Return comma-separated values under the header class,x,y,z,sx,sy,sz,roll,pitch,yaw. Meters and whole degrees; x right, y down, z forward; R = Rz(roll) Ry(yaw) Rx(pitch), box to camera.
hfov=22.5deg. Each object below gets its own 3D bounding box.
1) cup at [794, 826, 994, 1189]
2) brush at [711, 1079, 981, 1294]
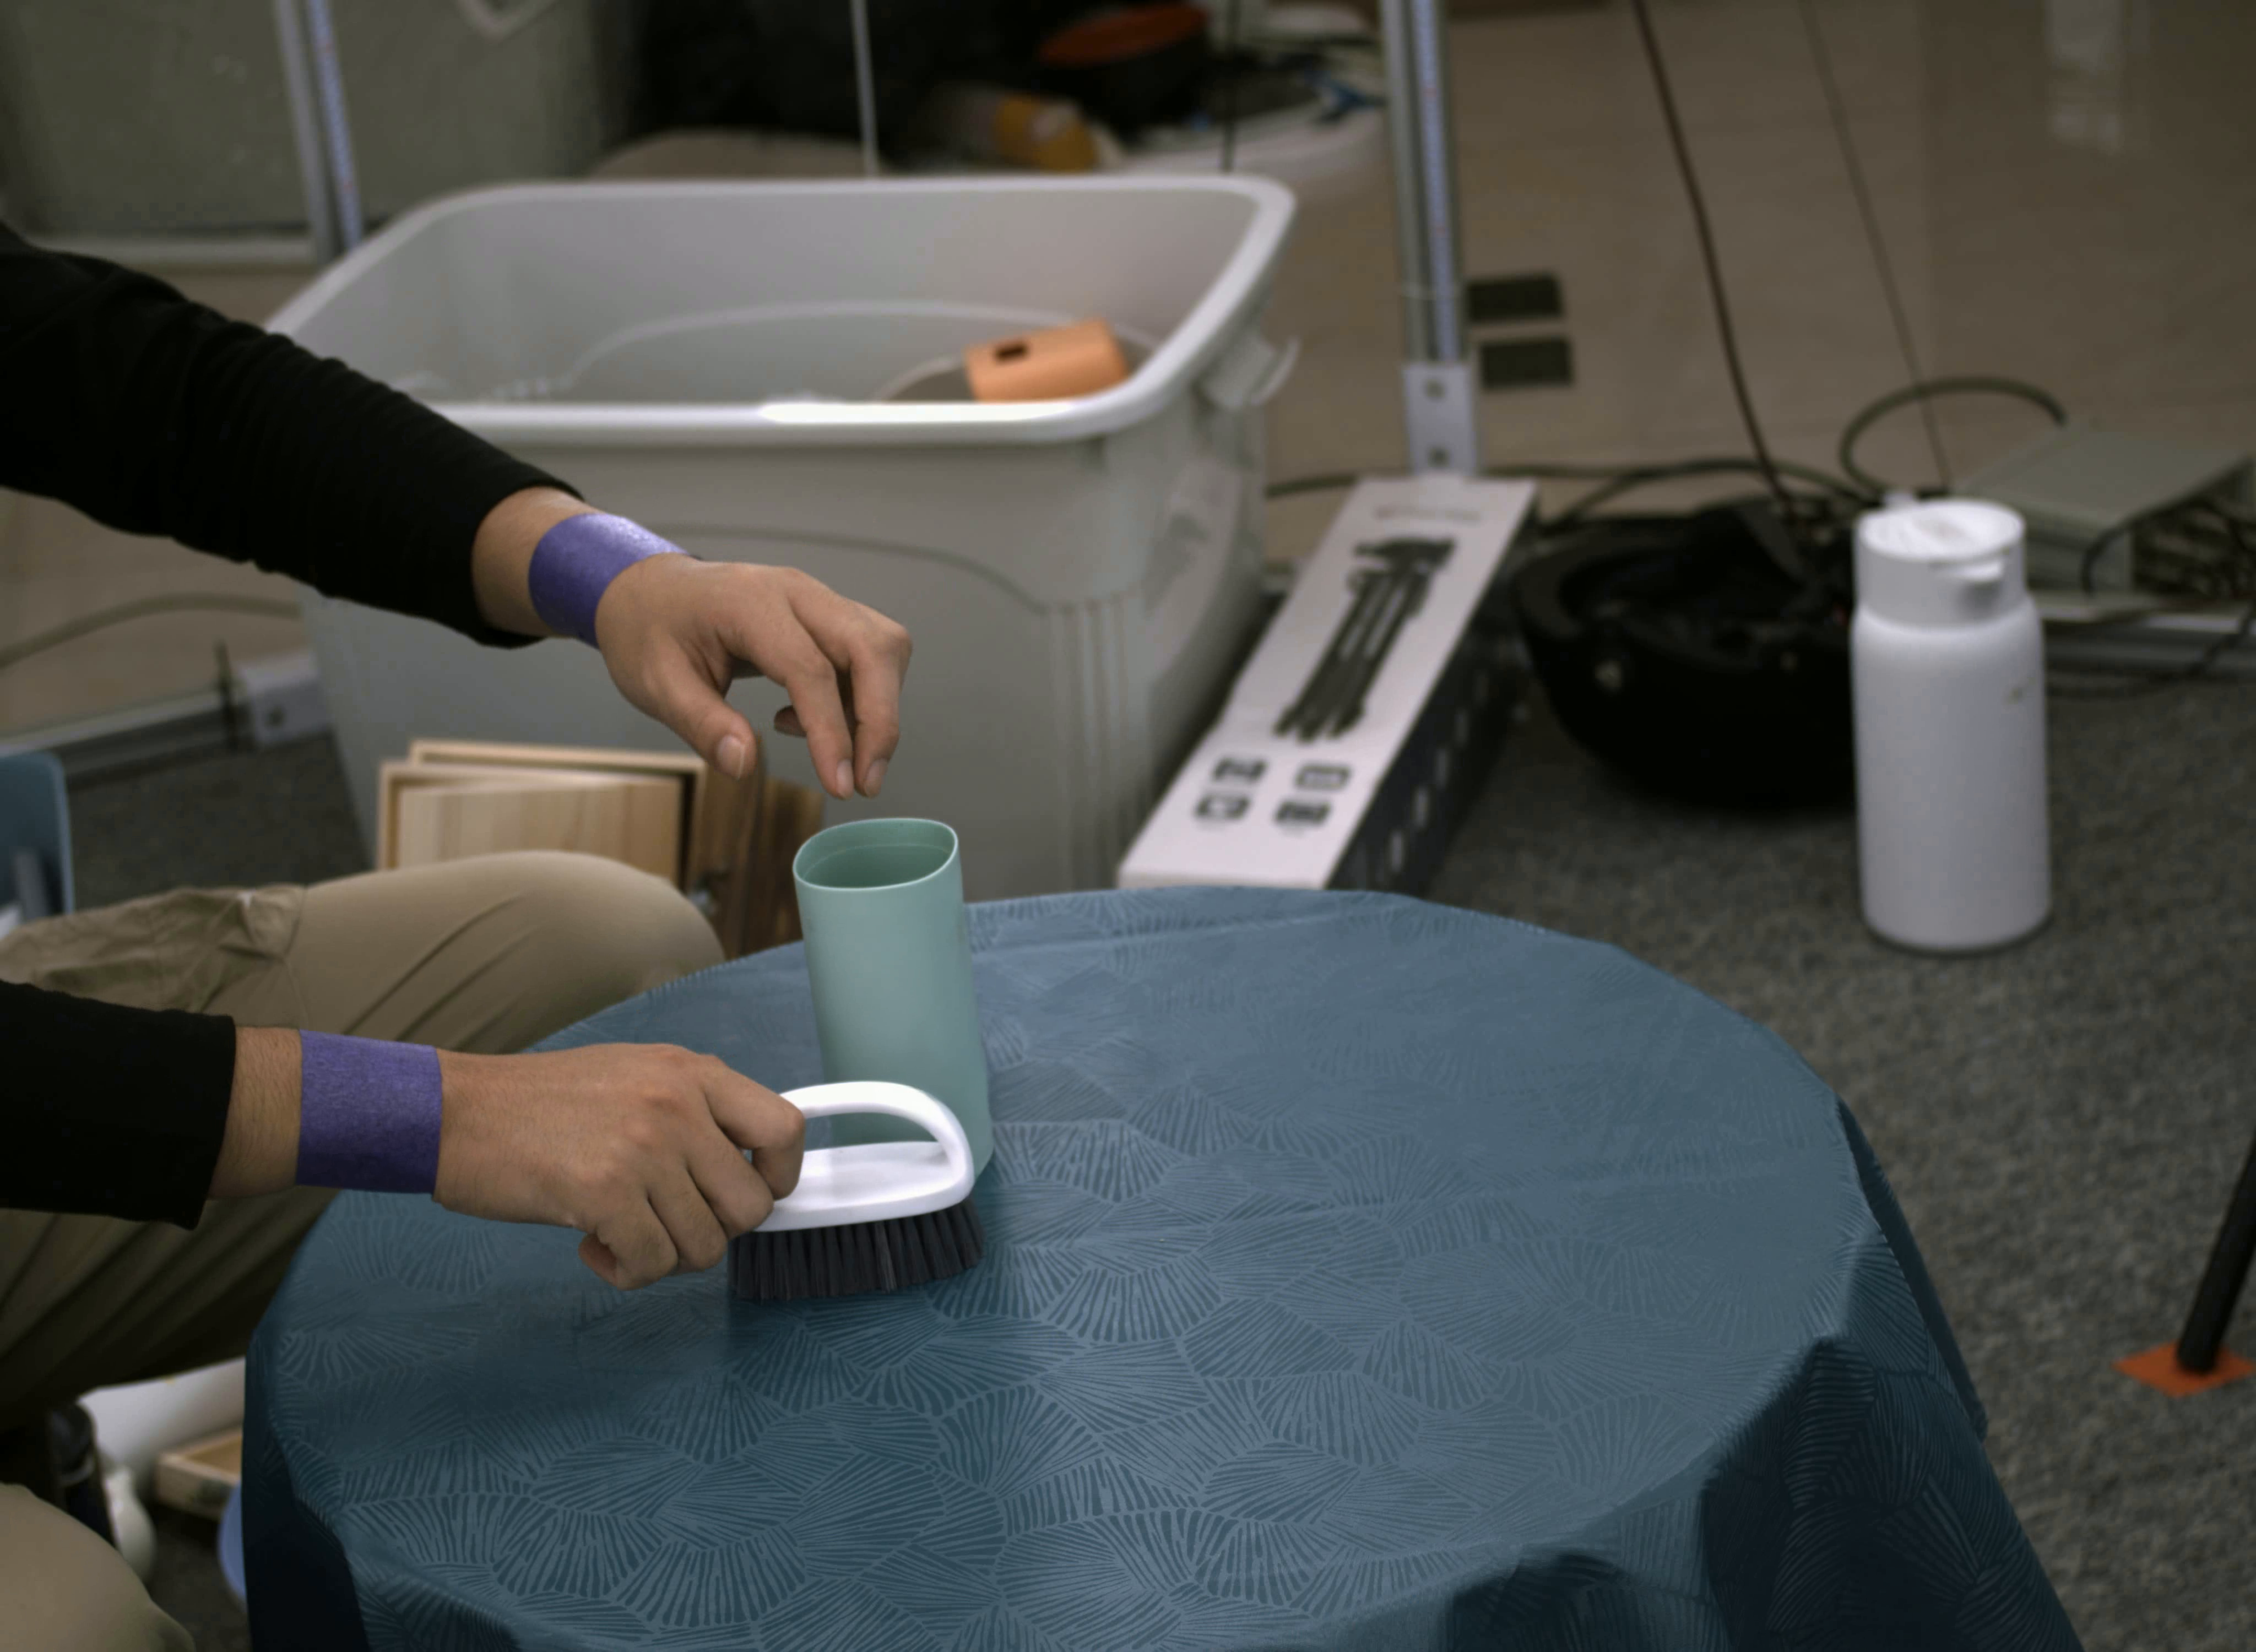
class,x,y,z,sx,sy,sz,roll,pitch,yaw
cup,-0.089,0.072,2.164,0.066,0.134,0.066,-5,26,2
brush,-0.106,0.129,2.102,0.099,0.073,0.049,-4,24,0
